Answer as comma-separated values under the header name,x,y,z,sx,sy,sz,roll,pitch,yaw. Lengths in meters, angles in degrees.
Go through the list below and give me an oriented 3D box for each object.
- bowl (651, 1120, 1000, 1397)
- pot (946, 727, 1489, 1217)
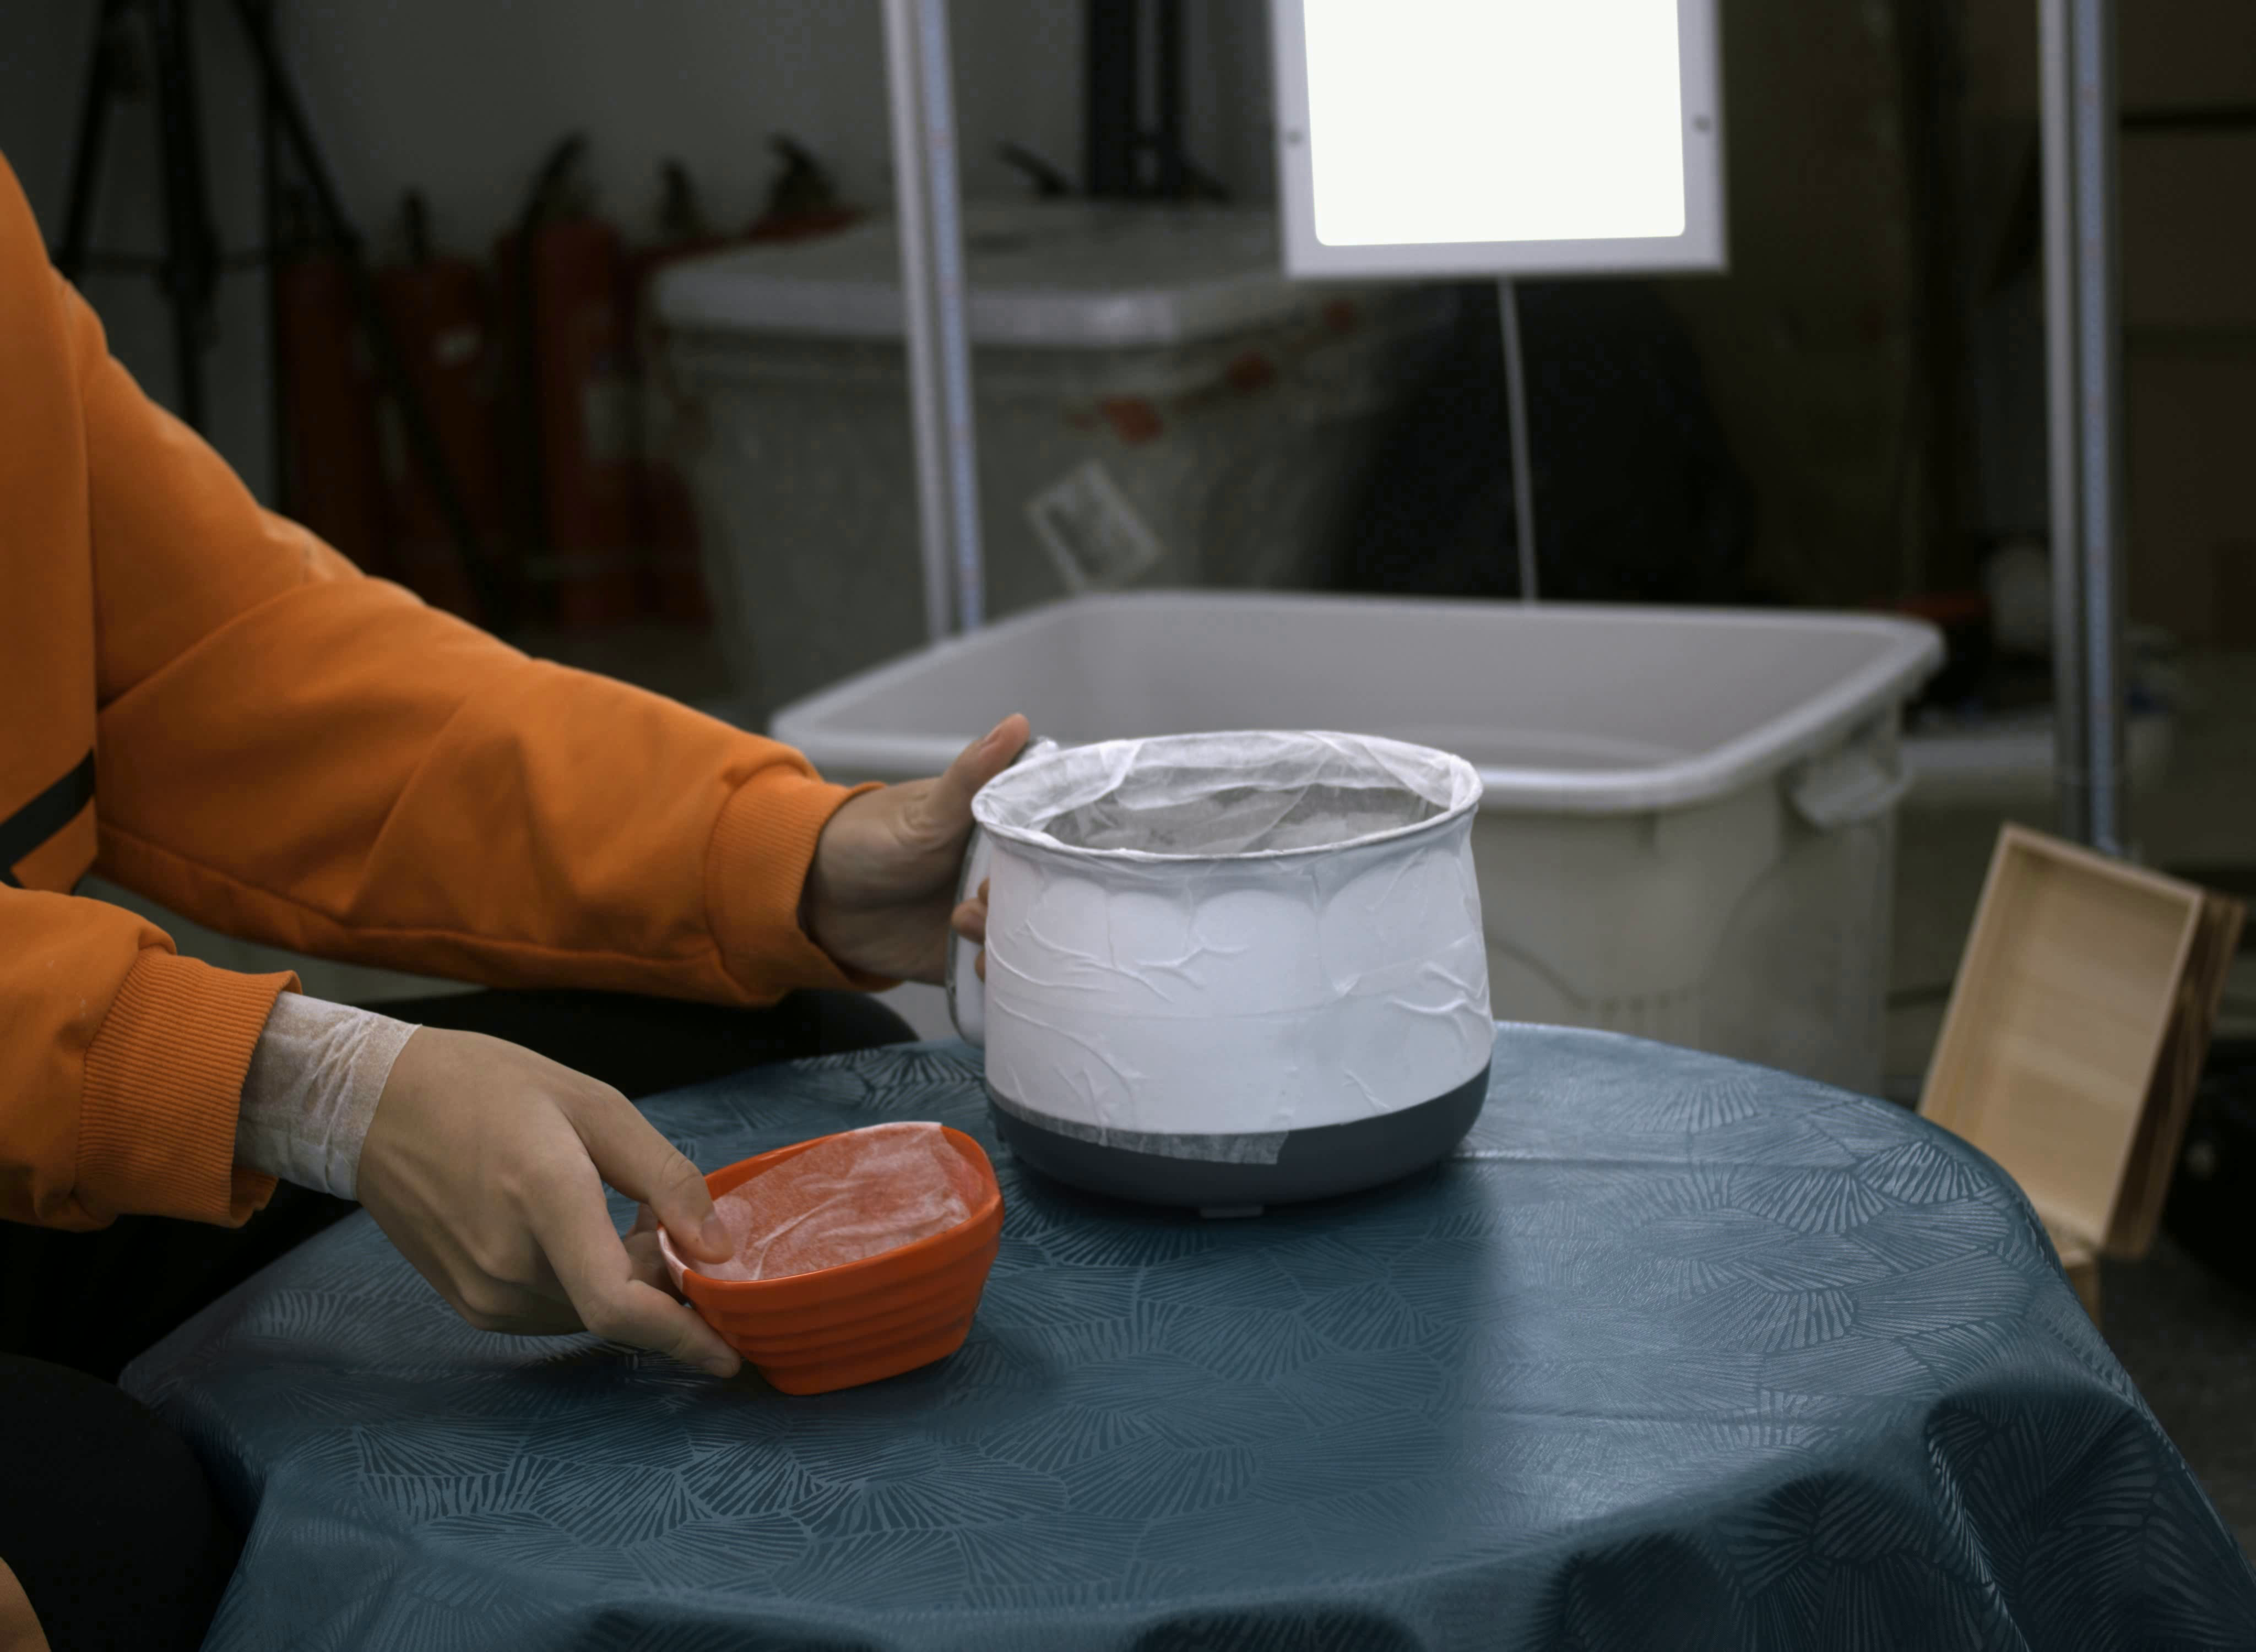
name,x,y,z,sx,sy,sz,roll,pitch,yaw
bowl,-0.092,0.141,1.747,0.119,0.051,0.118,-11,20,3
pot,0.018,0.044,1.925,0.174,0.137,0.238,-14,18,-39
